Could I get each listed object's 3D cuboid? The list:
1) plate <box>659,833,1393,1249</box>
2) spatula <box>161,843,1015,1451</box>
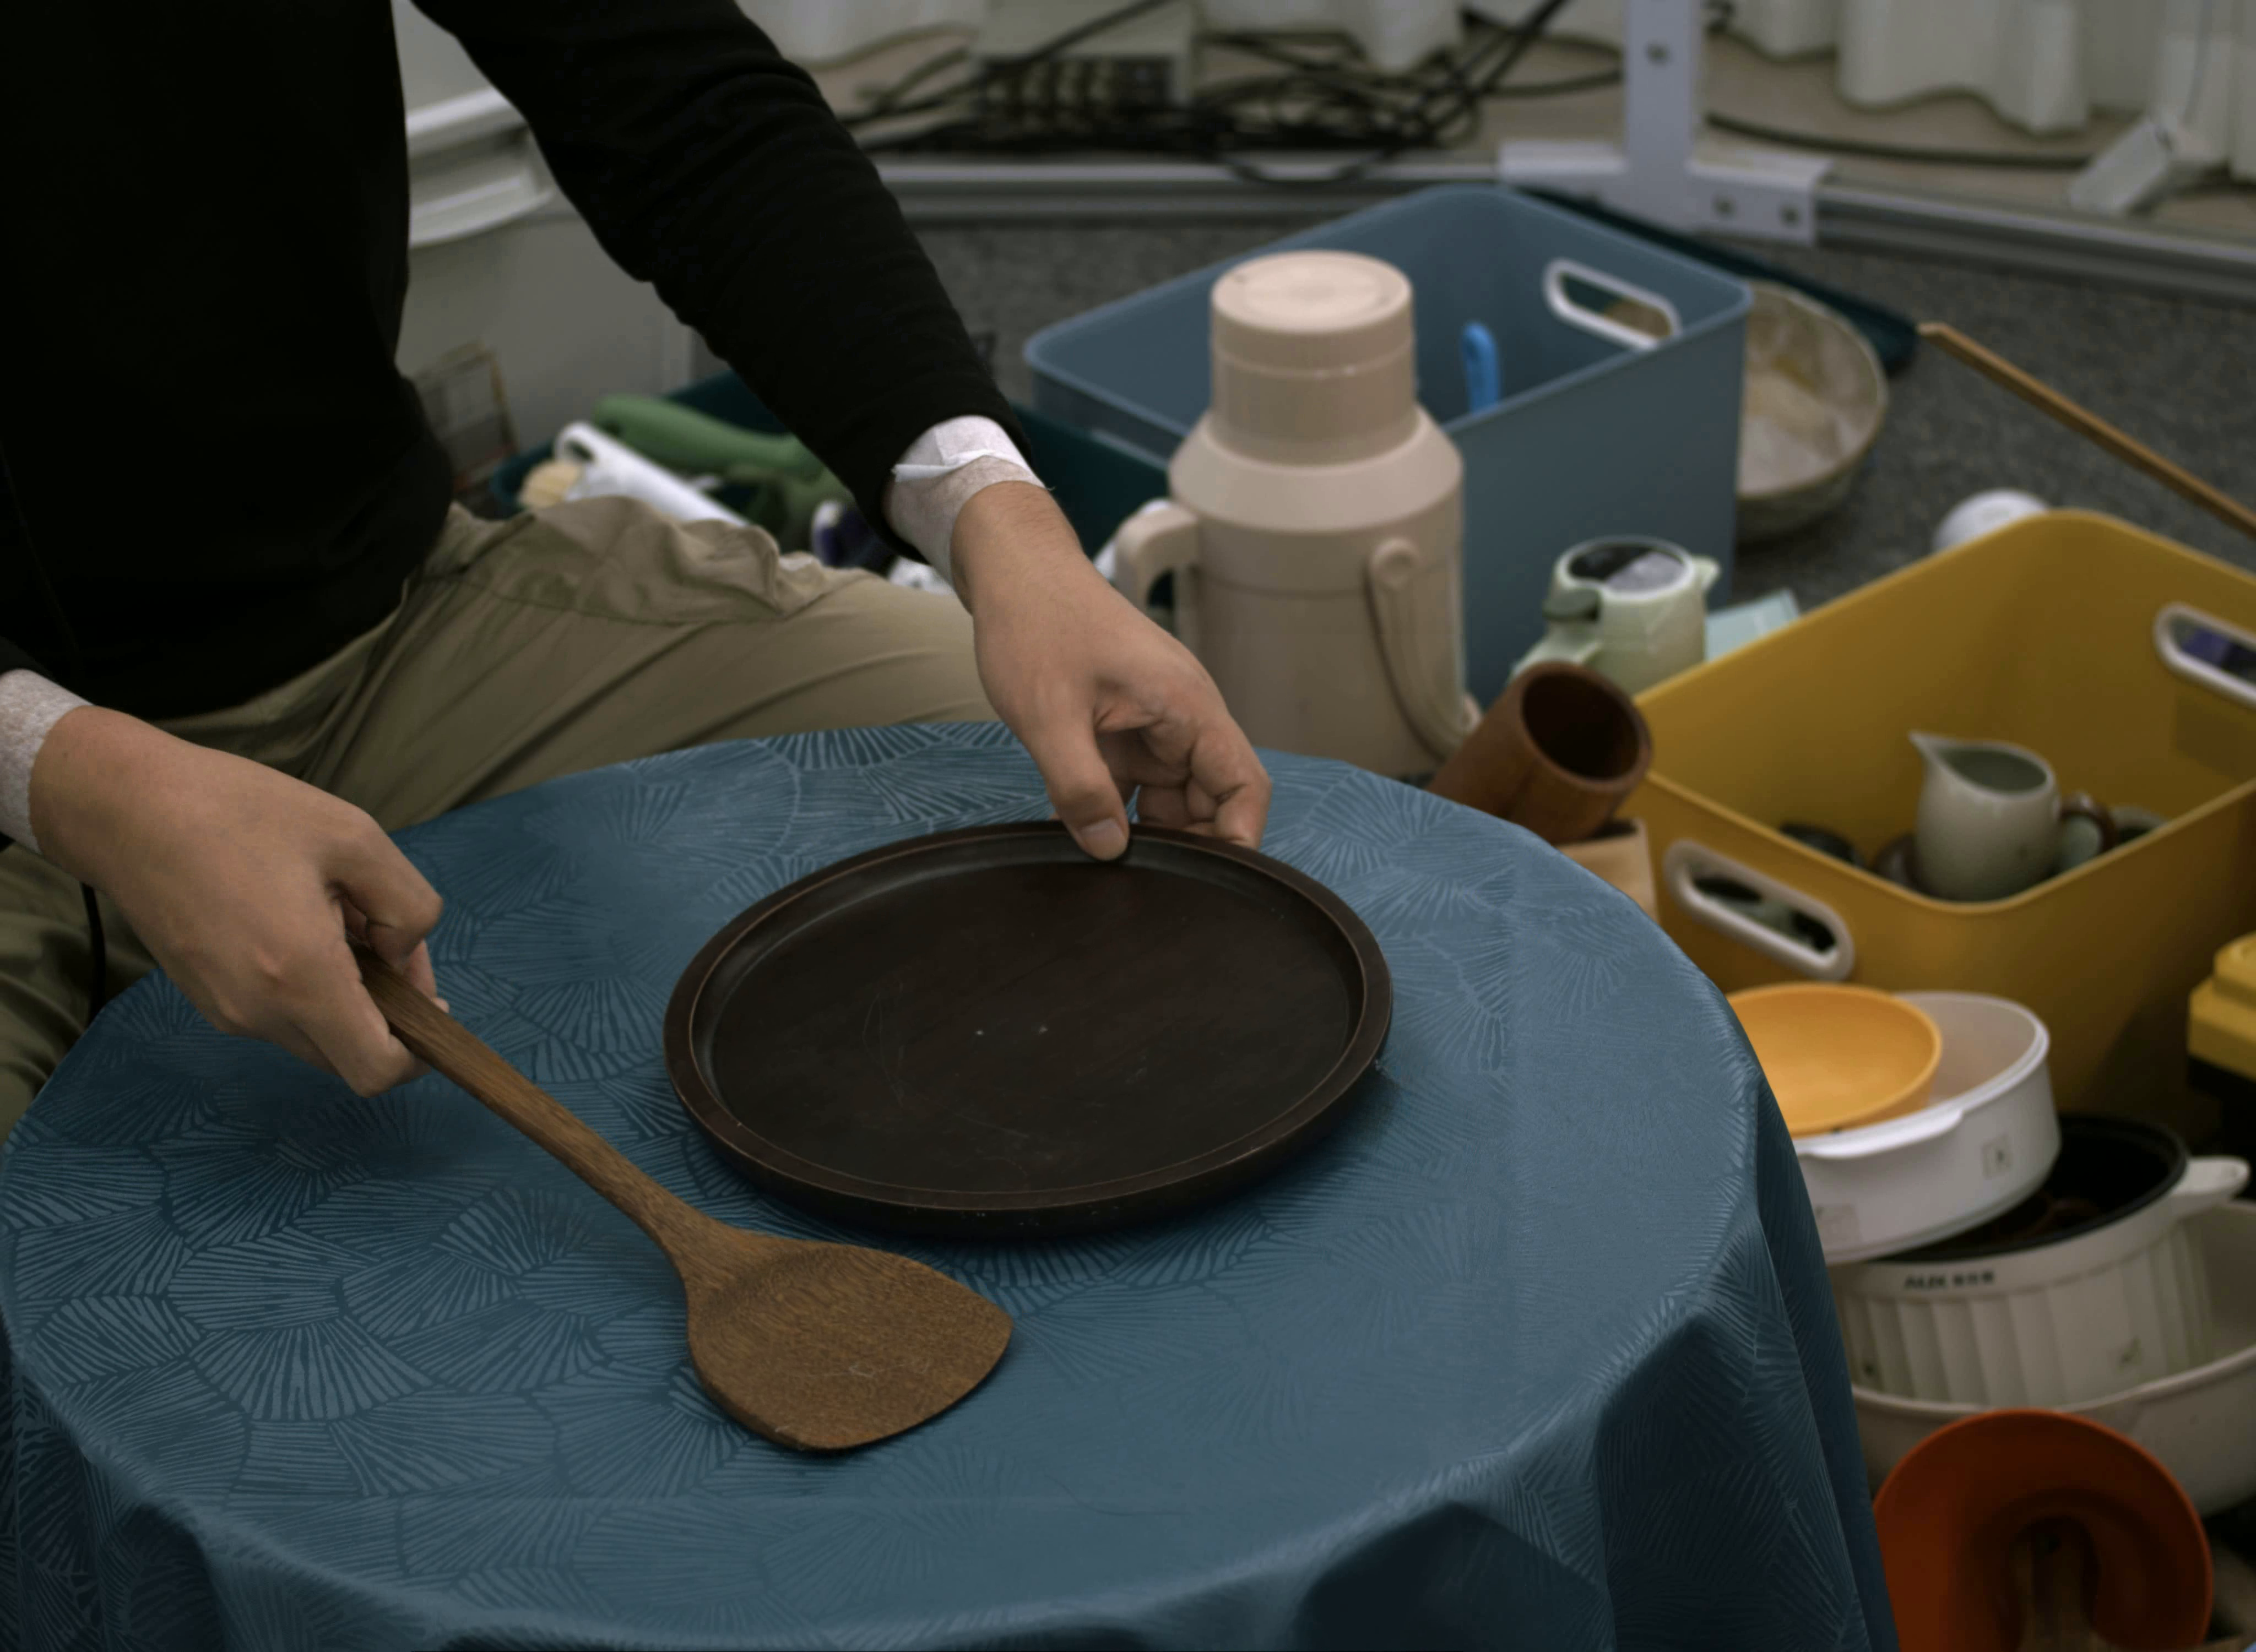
[{"bbox_3d":[-0.035,0.072,1.931,0.253,0.028,0.259,-2,30,1],"label":"plate"},{"bbox_3d":[-0.195,0.096,1.850,0.387,0.015,0.097,33,43,32],"label":"spatula"}]
